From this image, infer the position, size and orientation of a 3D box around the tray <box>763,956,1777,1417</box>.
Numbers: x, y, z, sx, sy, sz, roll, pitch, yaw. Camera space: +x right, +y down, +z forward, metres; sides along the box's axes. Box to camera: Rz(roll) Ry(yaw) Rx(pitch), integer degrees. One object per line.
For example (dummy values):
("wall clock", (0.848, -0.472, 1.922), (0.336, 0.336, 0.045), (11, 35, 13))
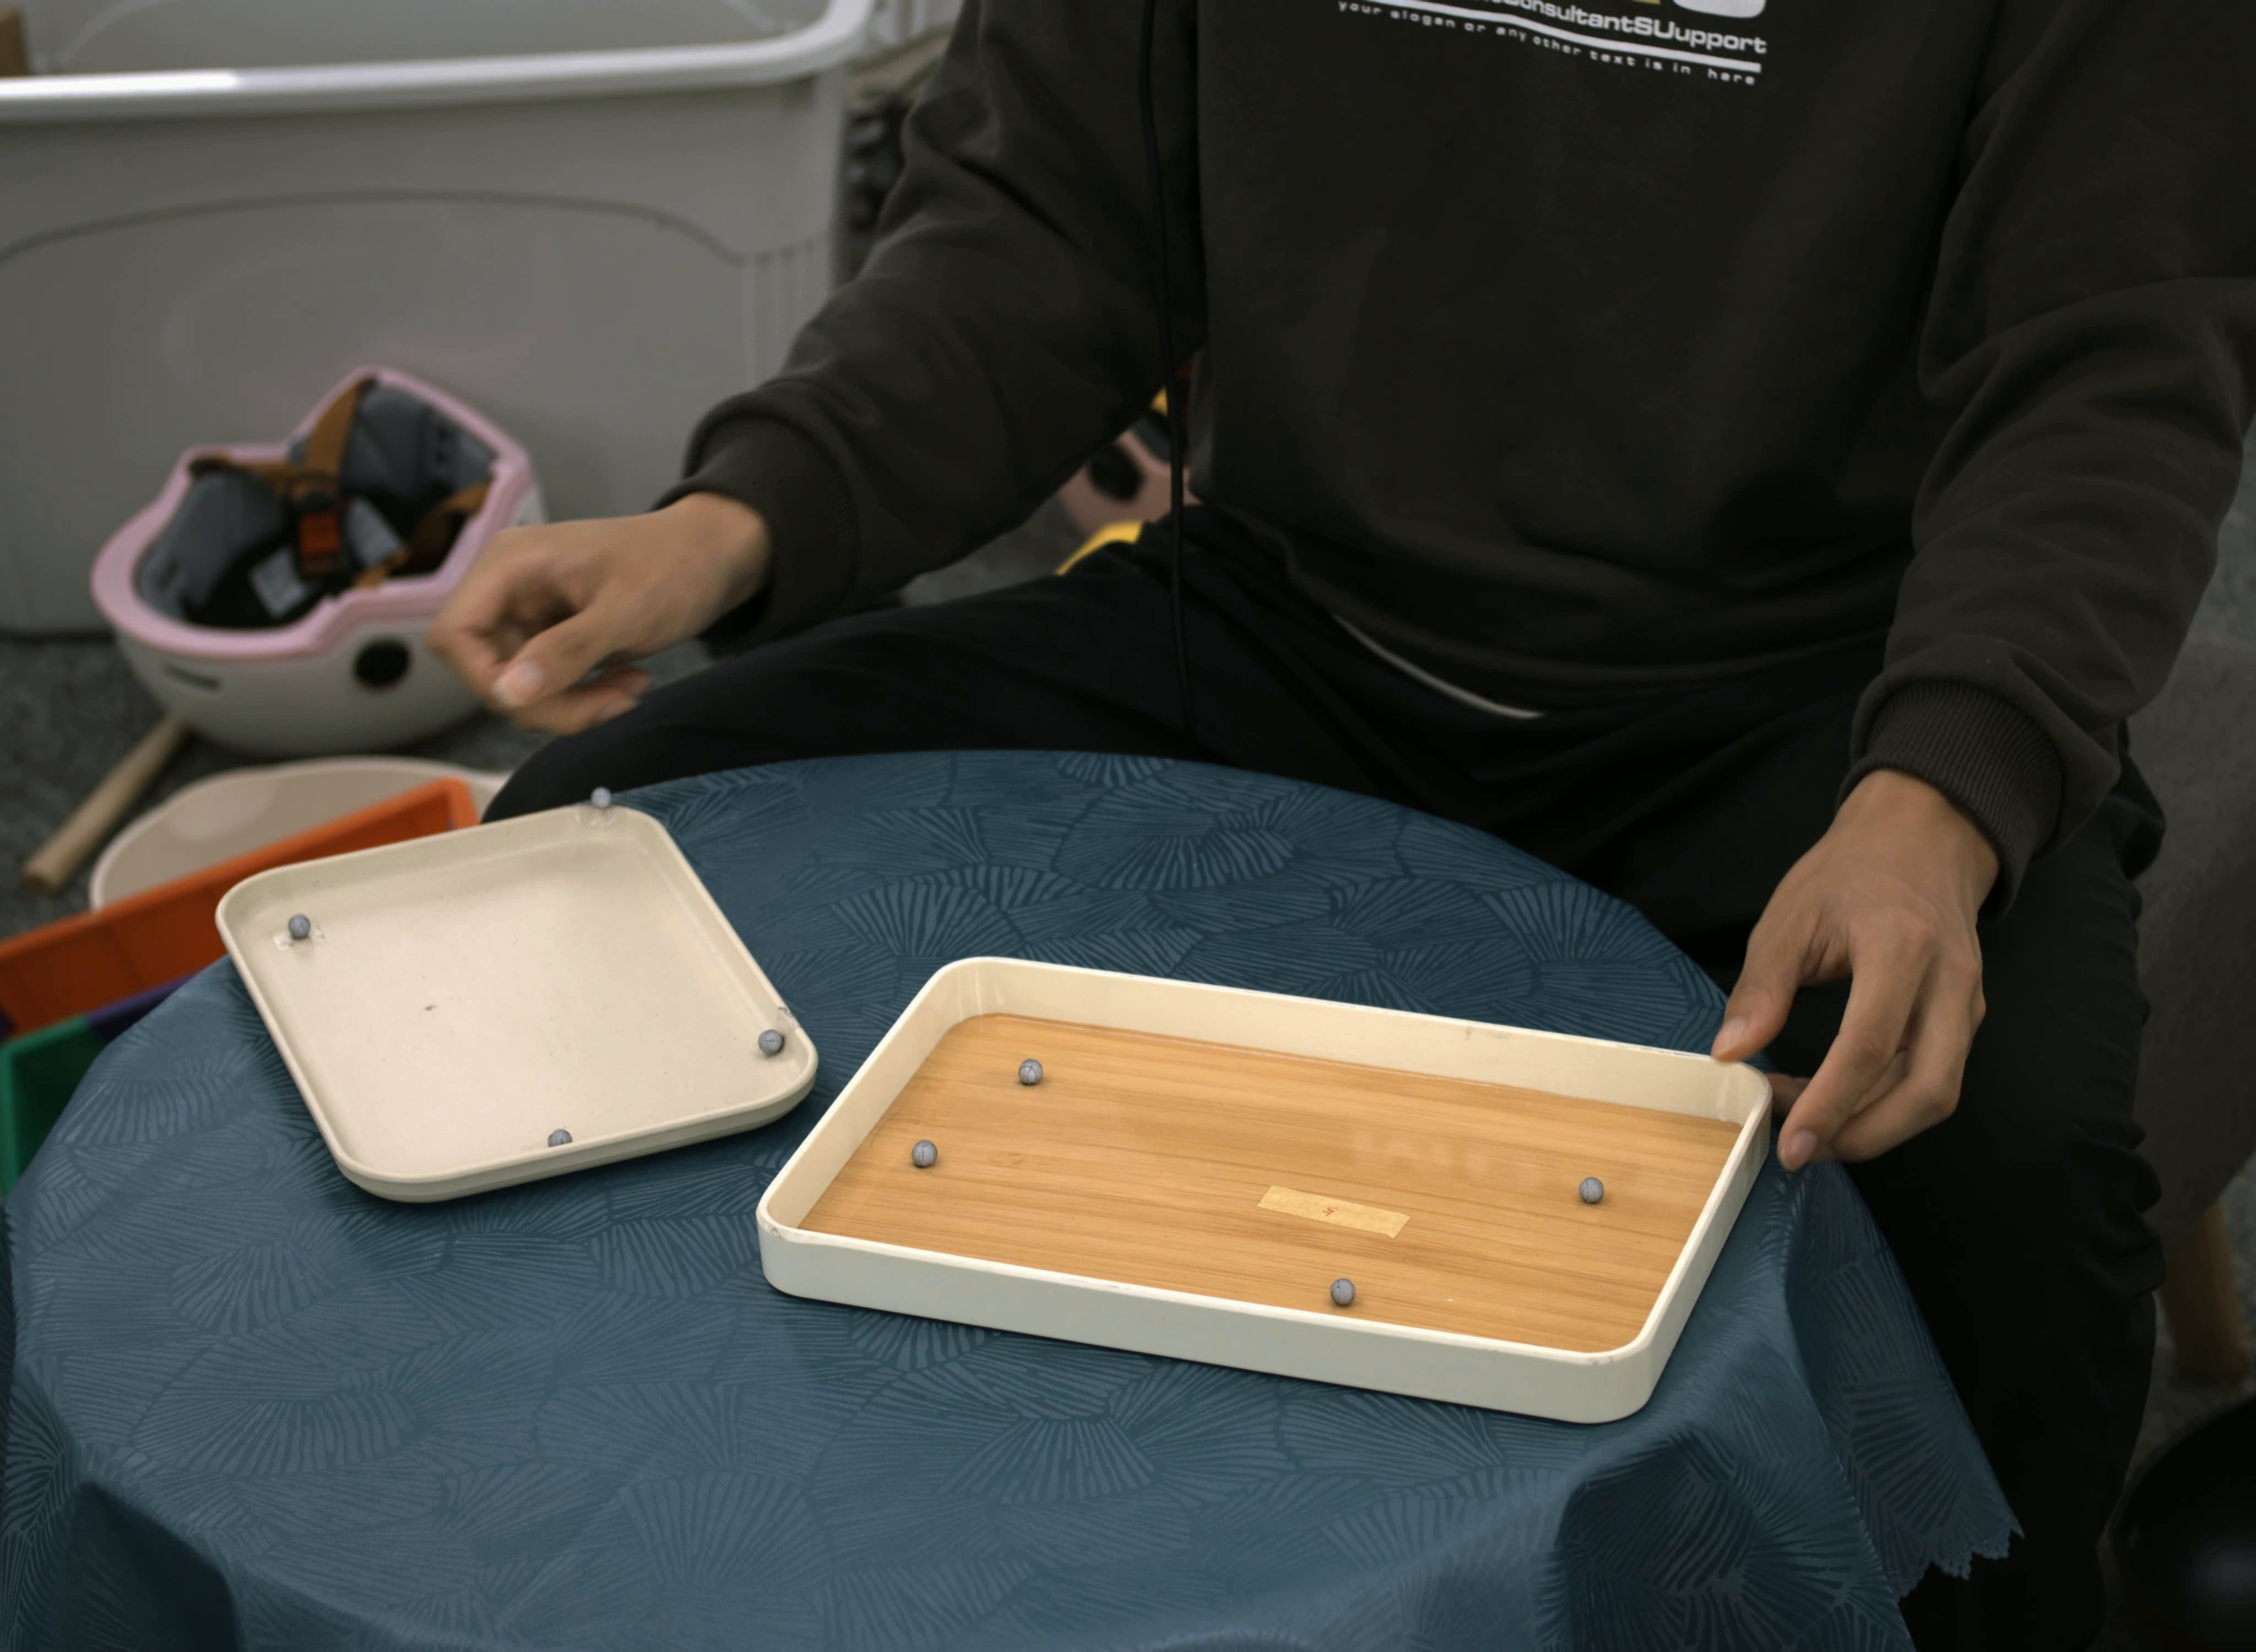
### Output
("tray", (0.048, 0.115, 1.846), (0.298, 0.027, 0.195), (7, 29, 18))

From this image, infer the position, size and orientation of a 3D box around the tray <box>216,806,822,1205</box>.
("tray", (-0.217, 0.062, 1.979), (0.172, 0.017, 0.241), (-12, 29, -18))
